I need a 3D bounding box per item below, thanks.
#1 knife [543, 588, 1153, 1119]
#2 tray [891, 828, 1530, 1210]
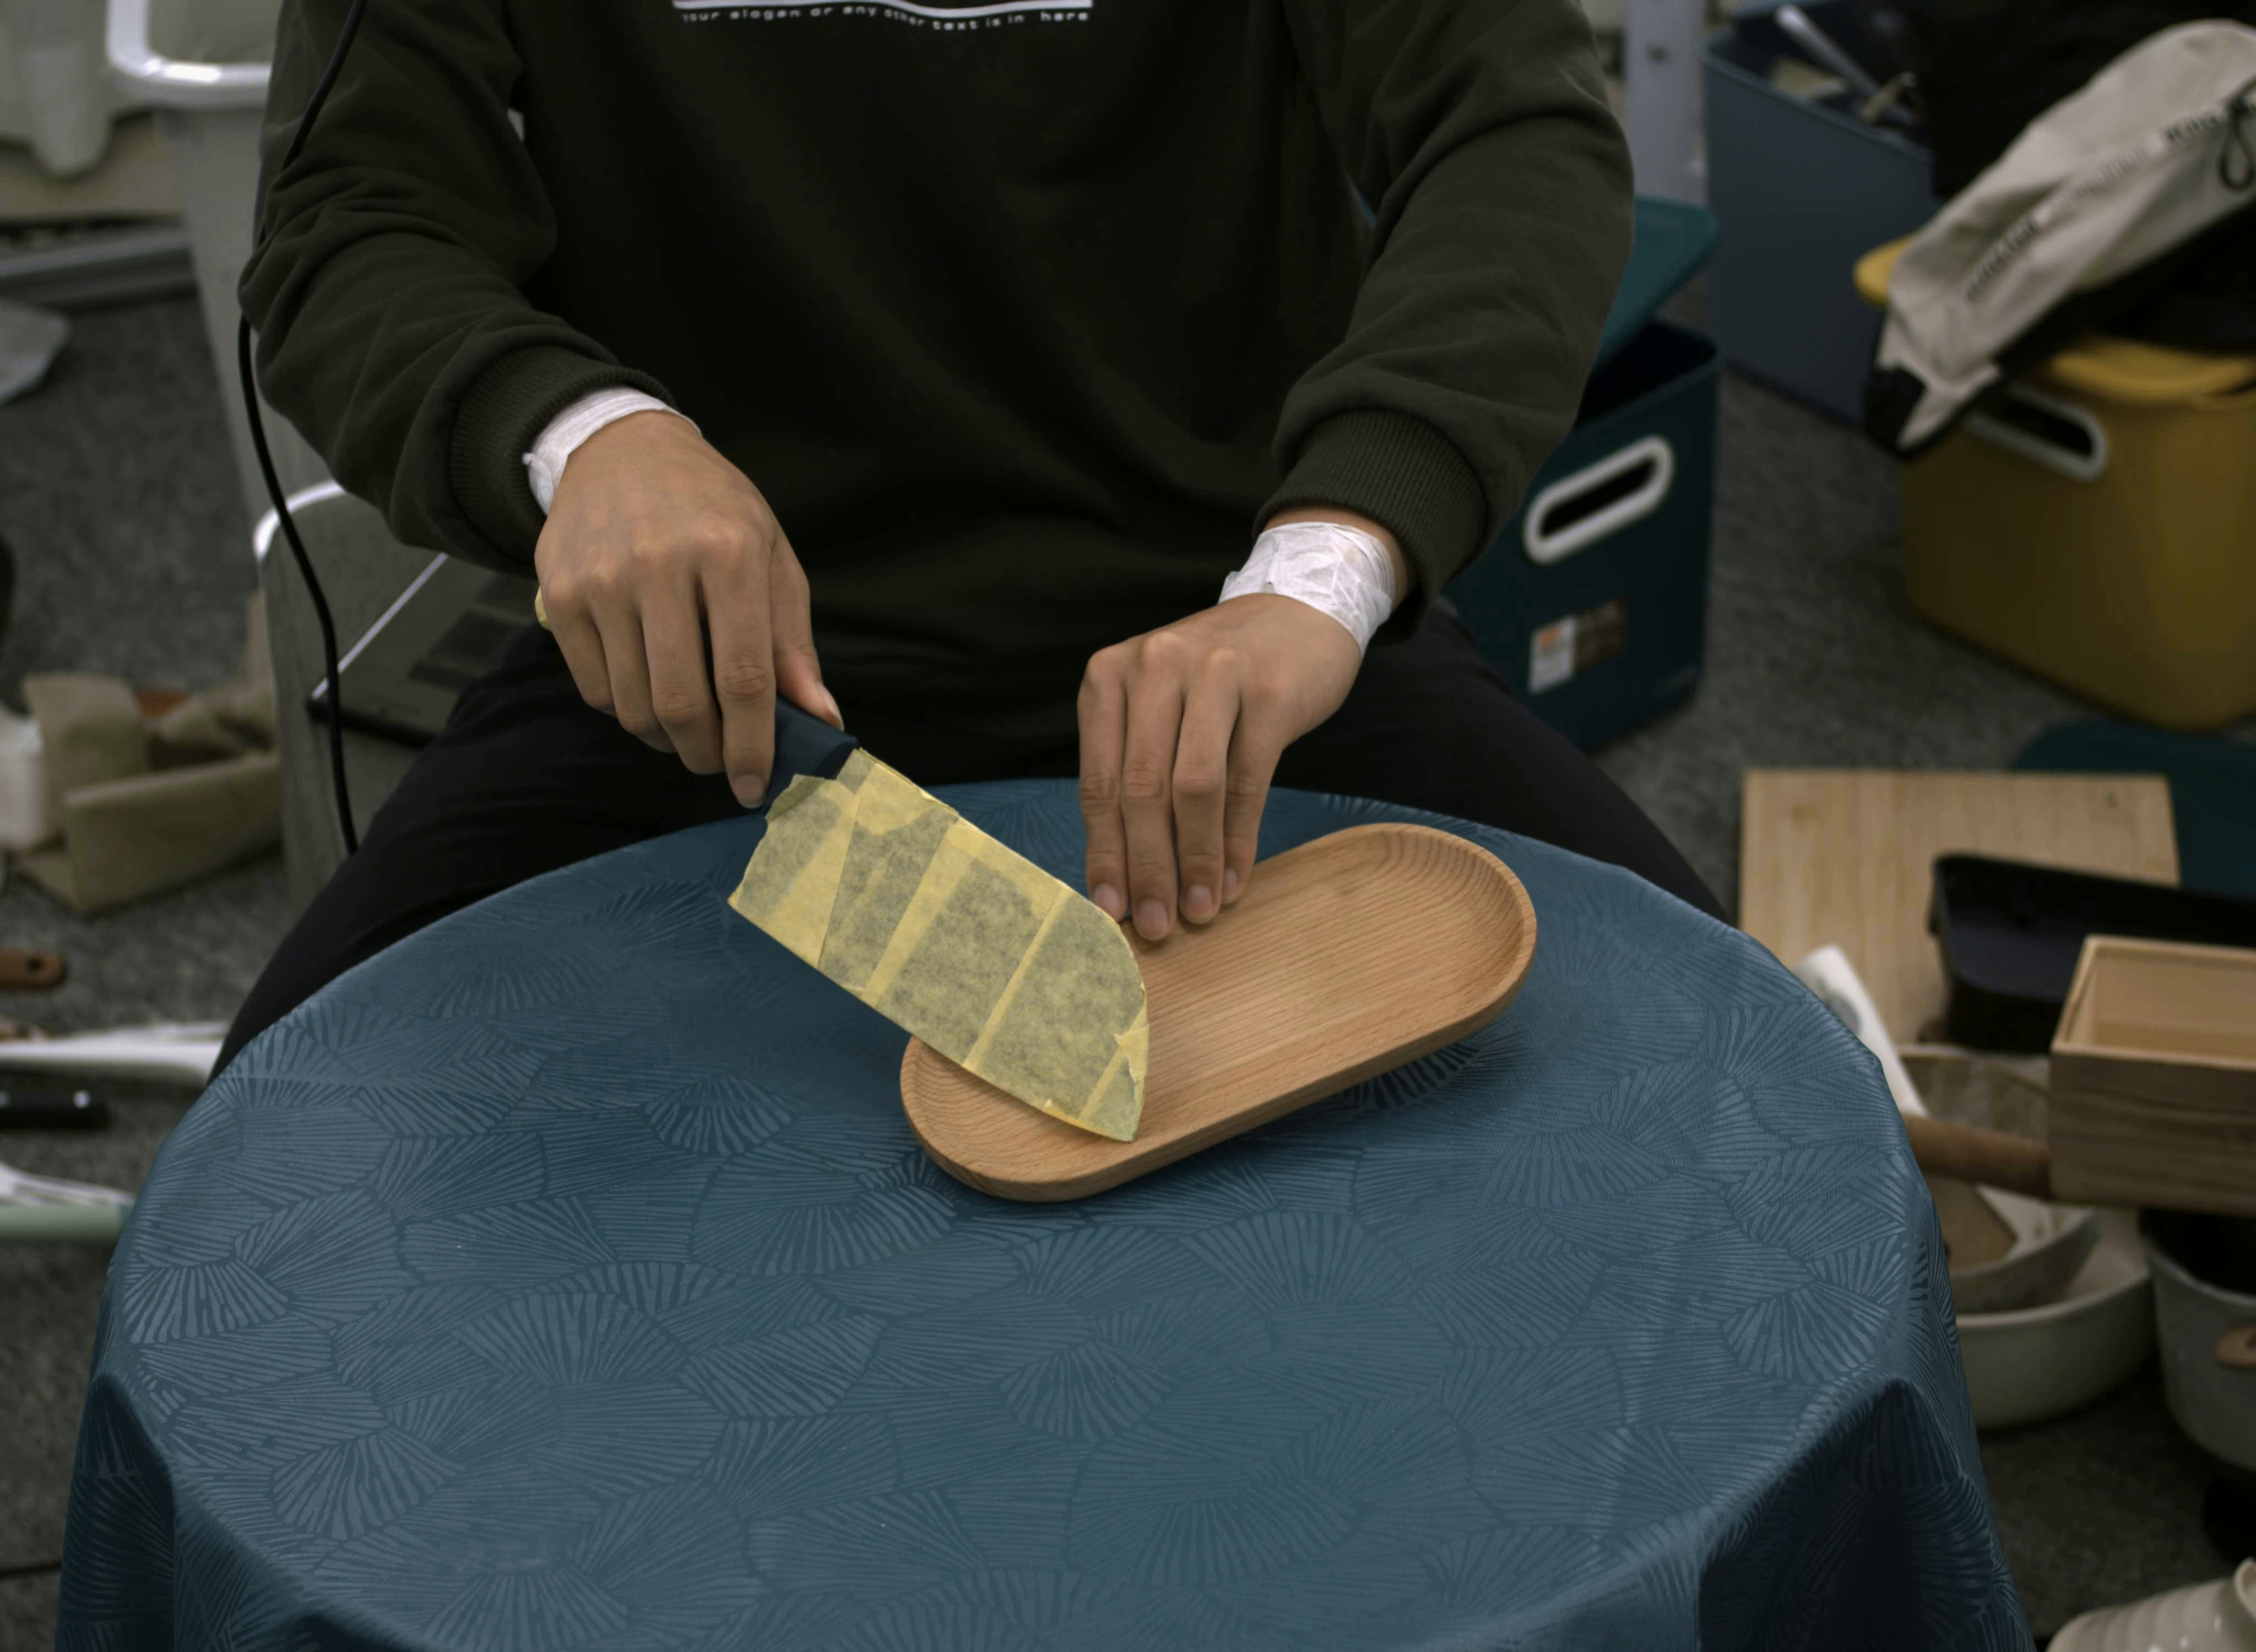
[{"bbox_3d":[-0.100,0.008,1.915,0.290,0.081,0.027,37,7,24],"label":"knife"},{"bbox_3d":[0.029,0.065,1.905,0.232,0.020,0.103,-23,46,-17],"label":"tray"}]
